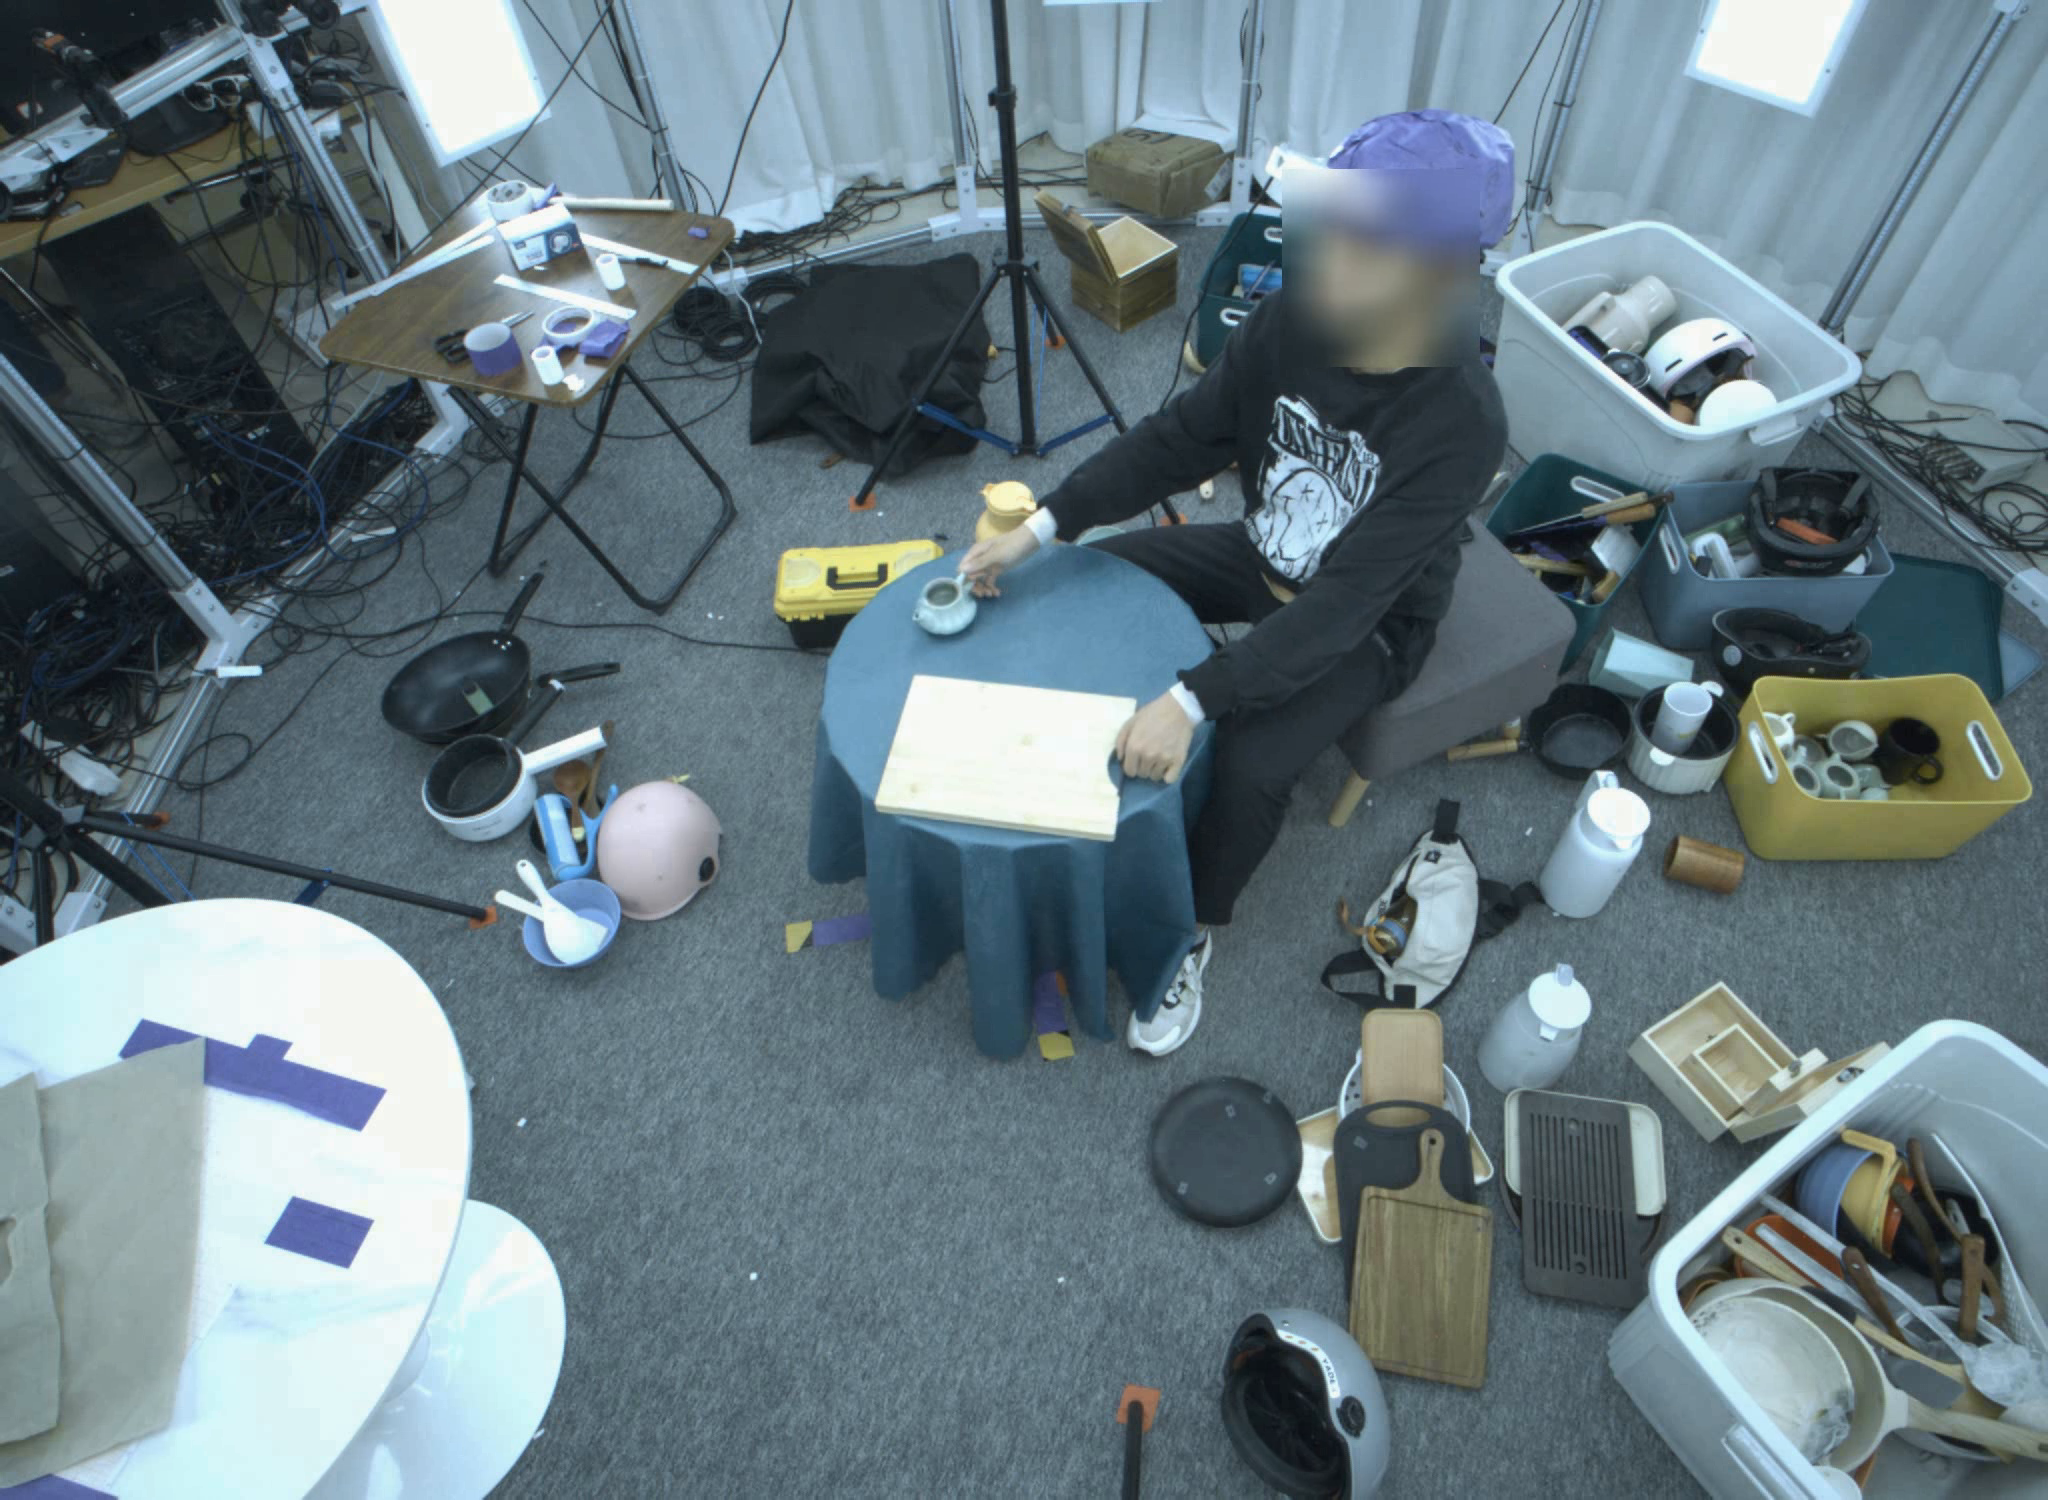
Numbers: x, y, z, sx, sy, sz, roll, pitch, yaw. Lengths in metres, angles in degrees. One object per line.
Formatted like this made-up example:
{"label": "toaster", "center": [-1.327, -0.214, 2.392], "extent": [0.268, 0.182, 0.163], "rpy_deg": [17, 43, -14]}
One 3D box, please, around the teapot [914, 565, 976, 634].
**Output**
{"label": "teapot", "center": [-0.122, -0.232, 1.913], "extent": [0.094, 0.062, 0.137], "rpy_deg": [31, 66, 24]}

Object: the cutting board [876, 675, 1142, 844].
{"label": "cutting board", "center": [-0.016, 0.007, 1.769], "extent": [0.347, 0.024, 0.249], "rpy_deg": [6, 55, 6]}
